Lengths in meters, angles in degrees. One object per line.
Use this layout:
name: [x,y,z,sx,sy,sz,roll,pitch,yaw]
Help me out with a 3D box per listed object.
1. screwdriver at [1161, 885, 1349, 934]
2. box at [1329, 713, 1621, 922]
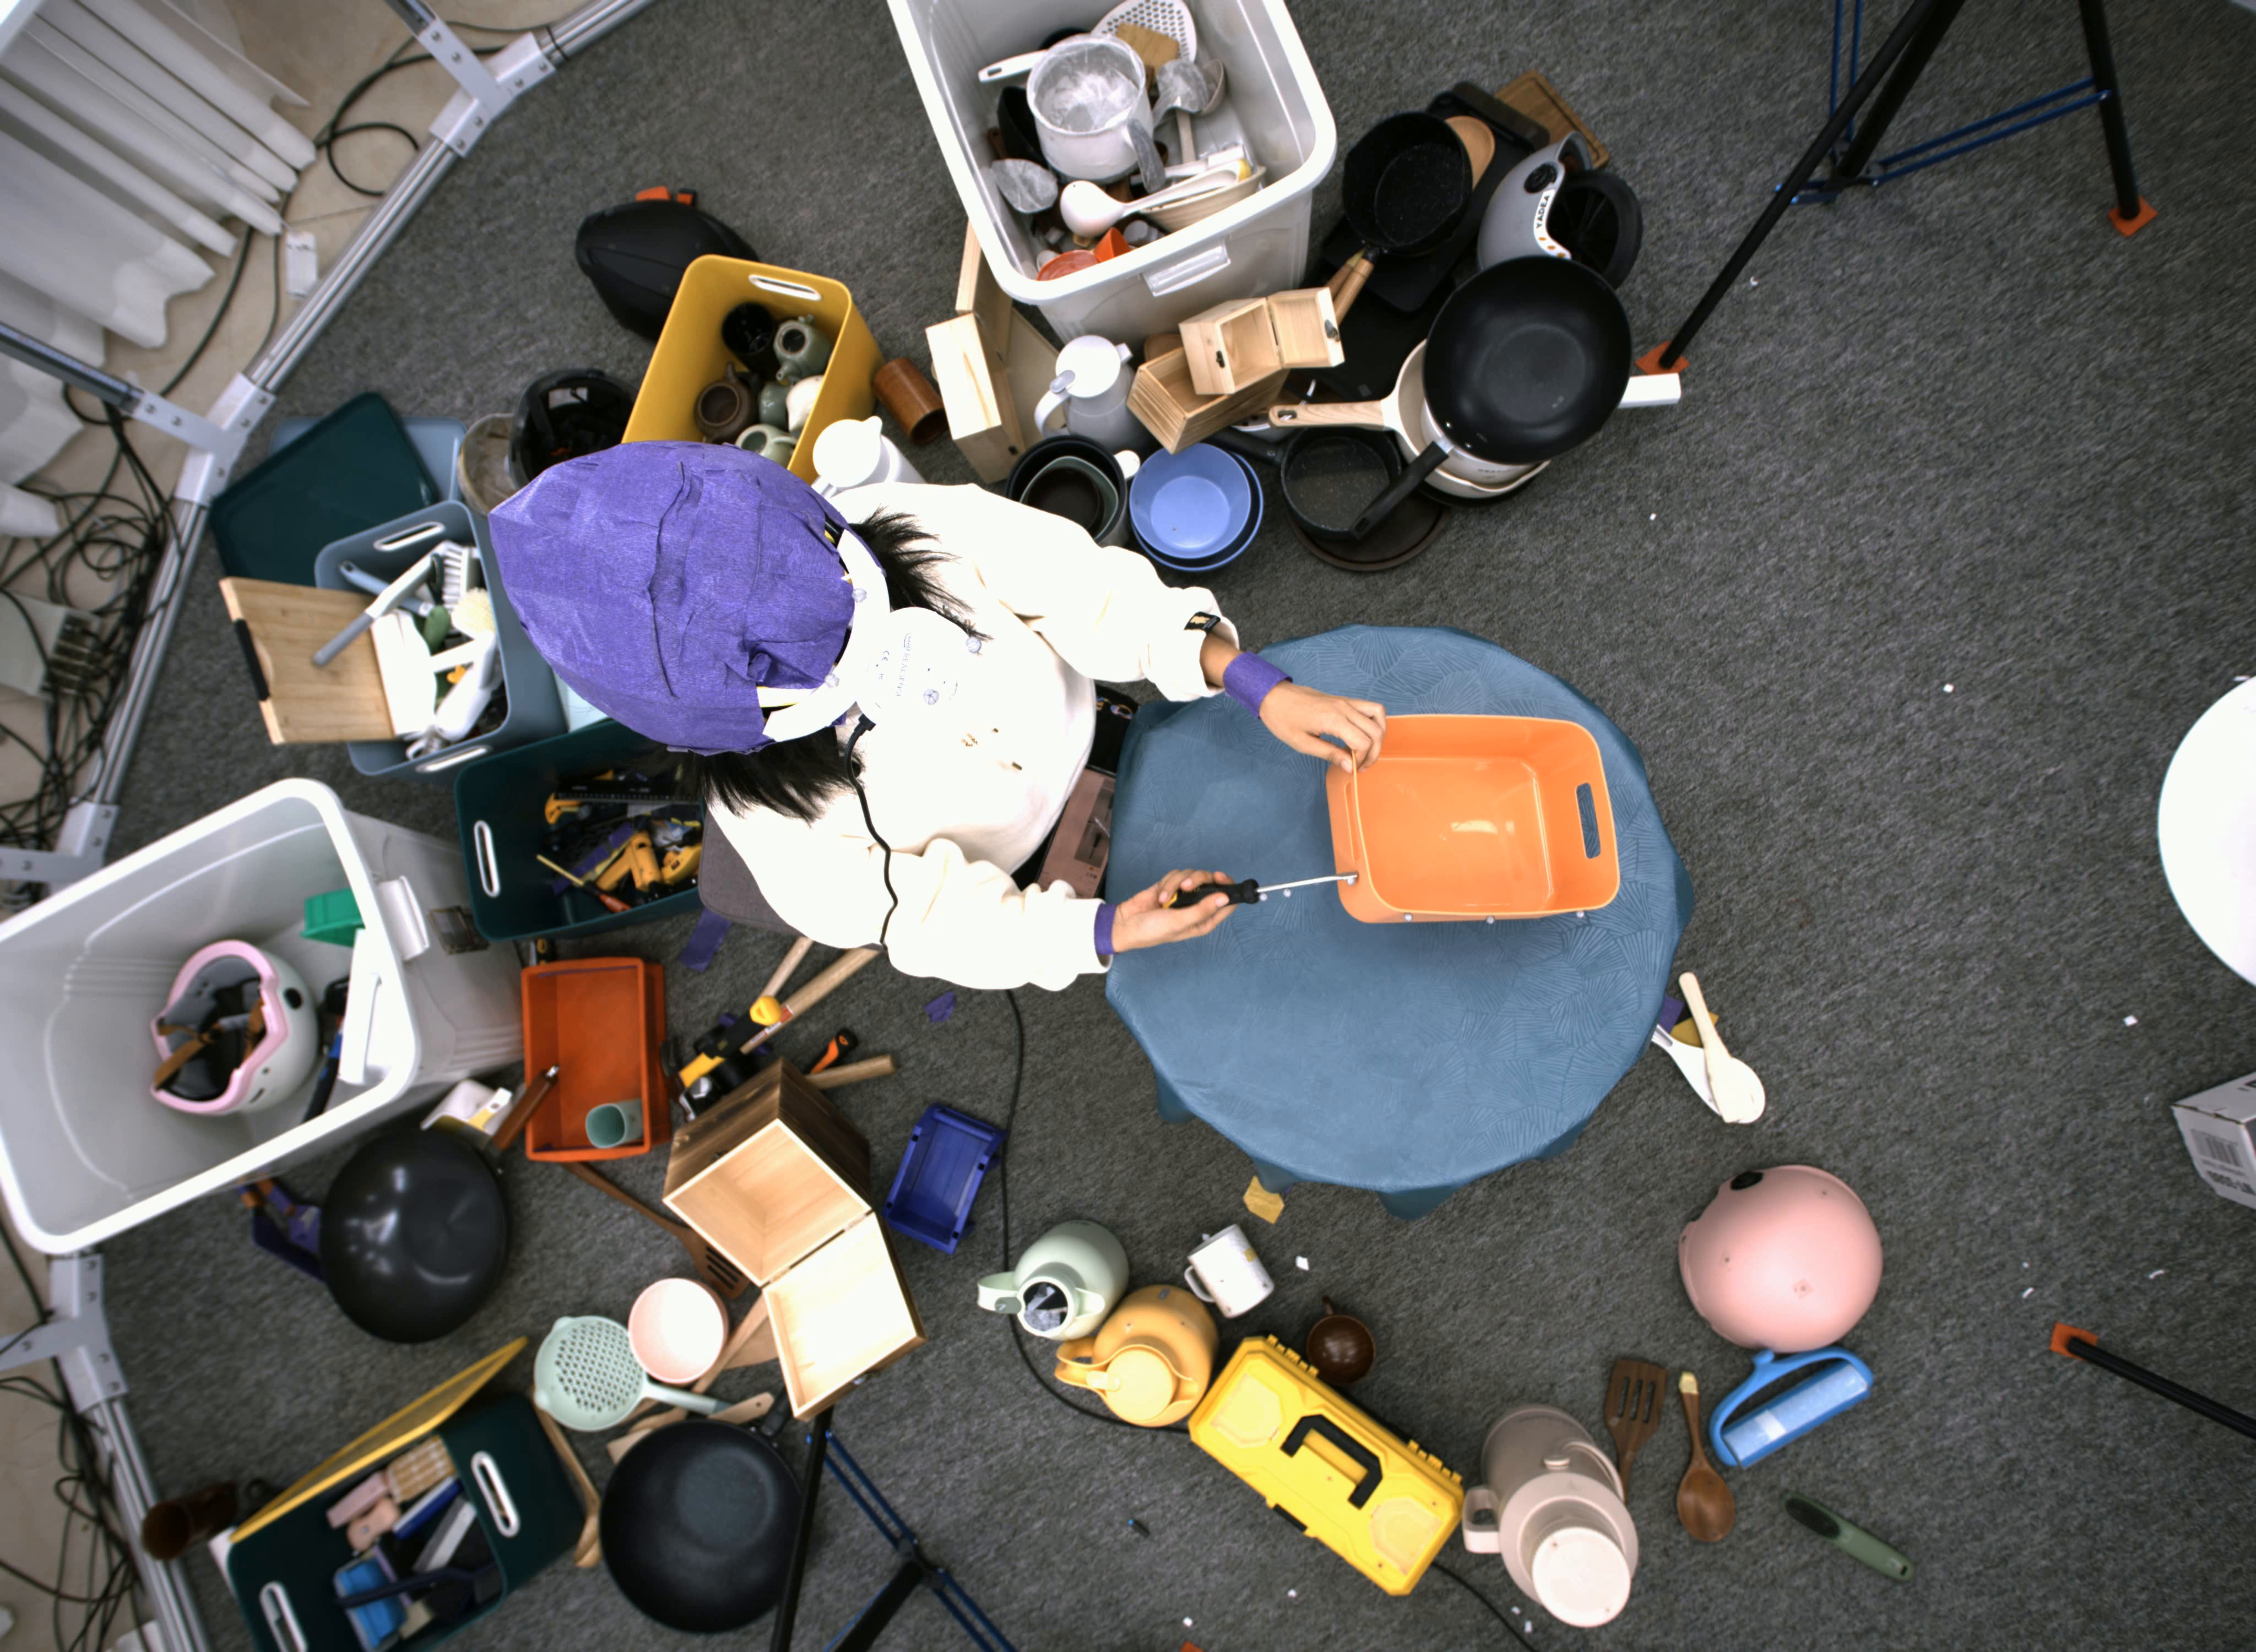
screwdriver: [0.119,0.077,1.336,0.200,0.031,0.031,-14,82,32]
box: [0.332,-0.003,1.351,0.272,0.104,0.197,-1,79,-15]
